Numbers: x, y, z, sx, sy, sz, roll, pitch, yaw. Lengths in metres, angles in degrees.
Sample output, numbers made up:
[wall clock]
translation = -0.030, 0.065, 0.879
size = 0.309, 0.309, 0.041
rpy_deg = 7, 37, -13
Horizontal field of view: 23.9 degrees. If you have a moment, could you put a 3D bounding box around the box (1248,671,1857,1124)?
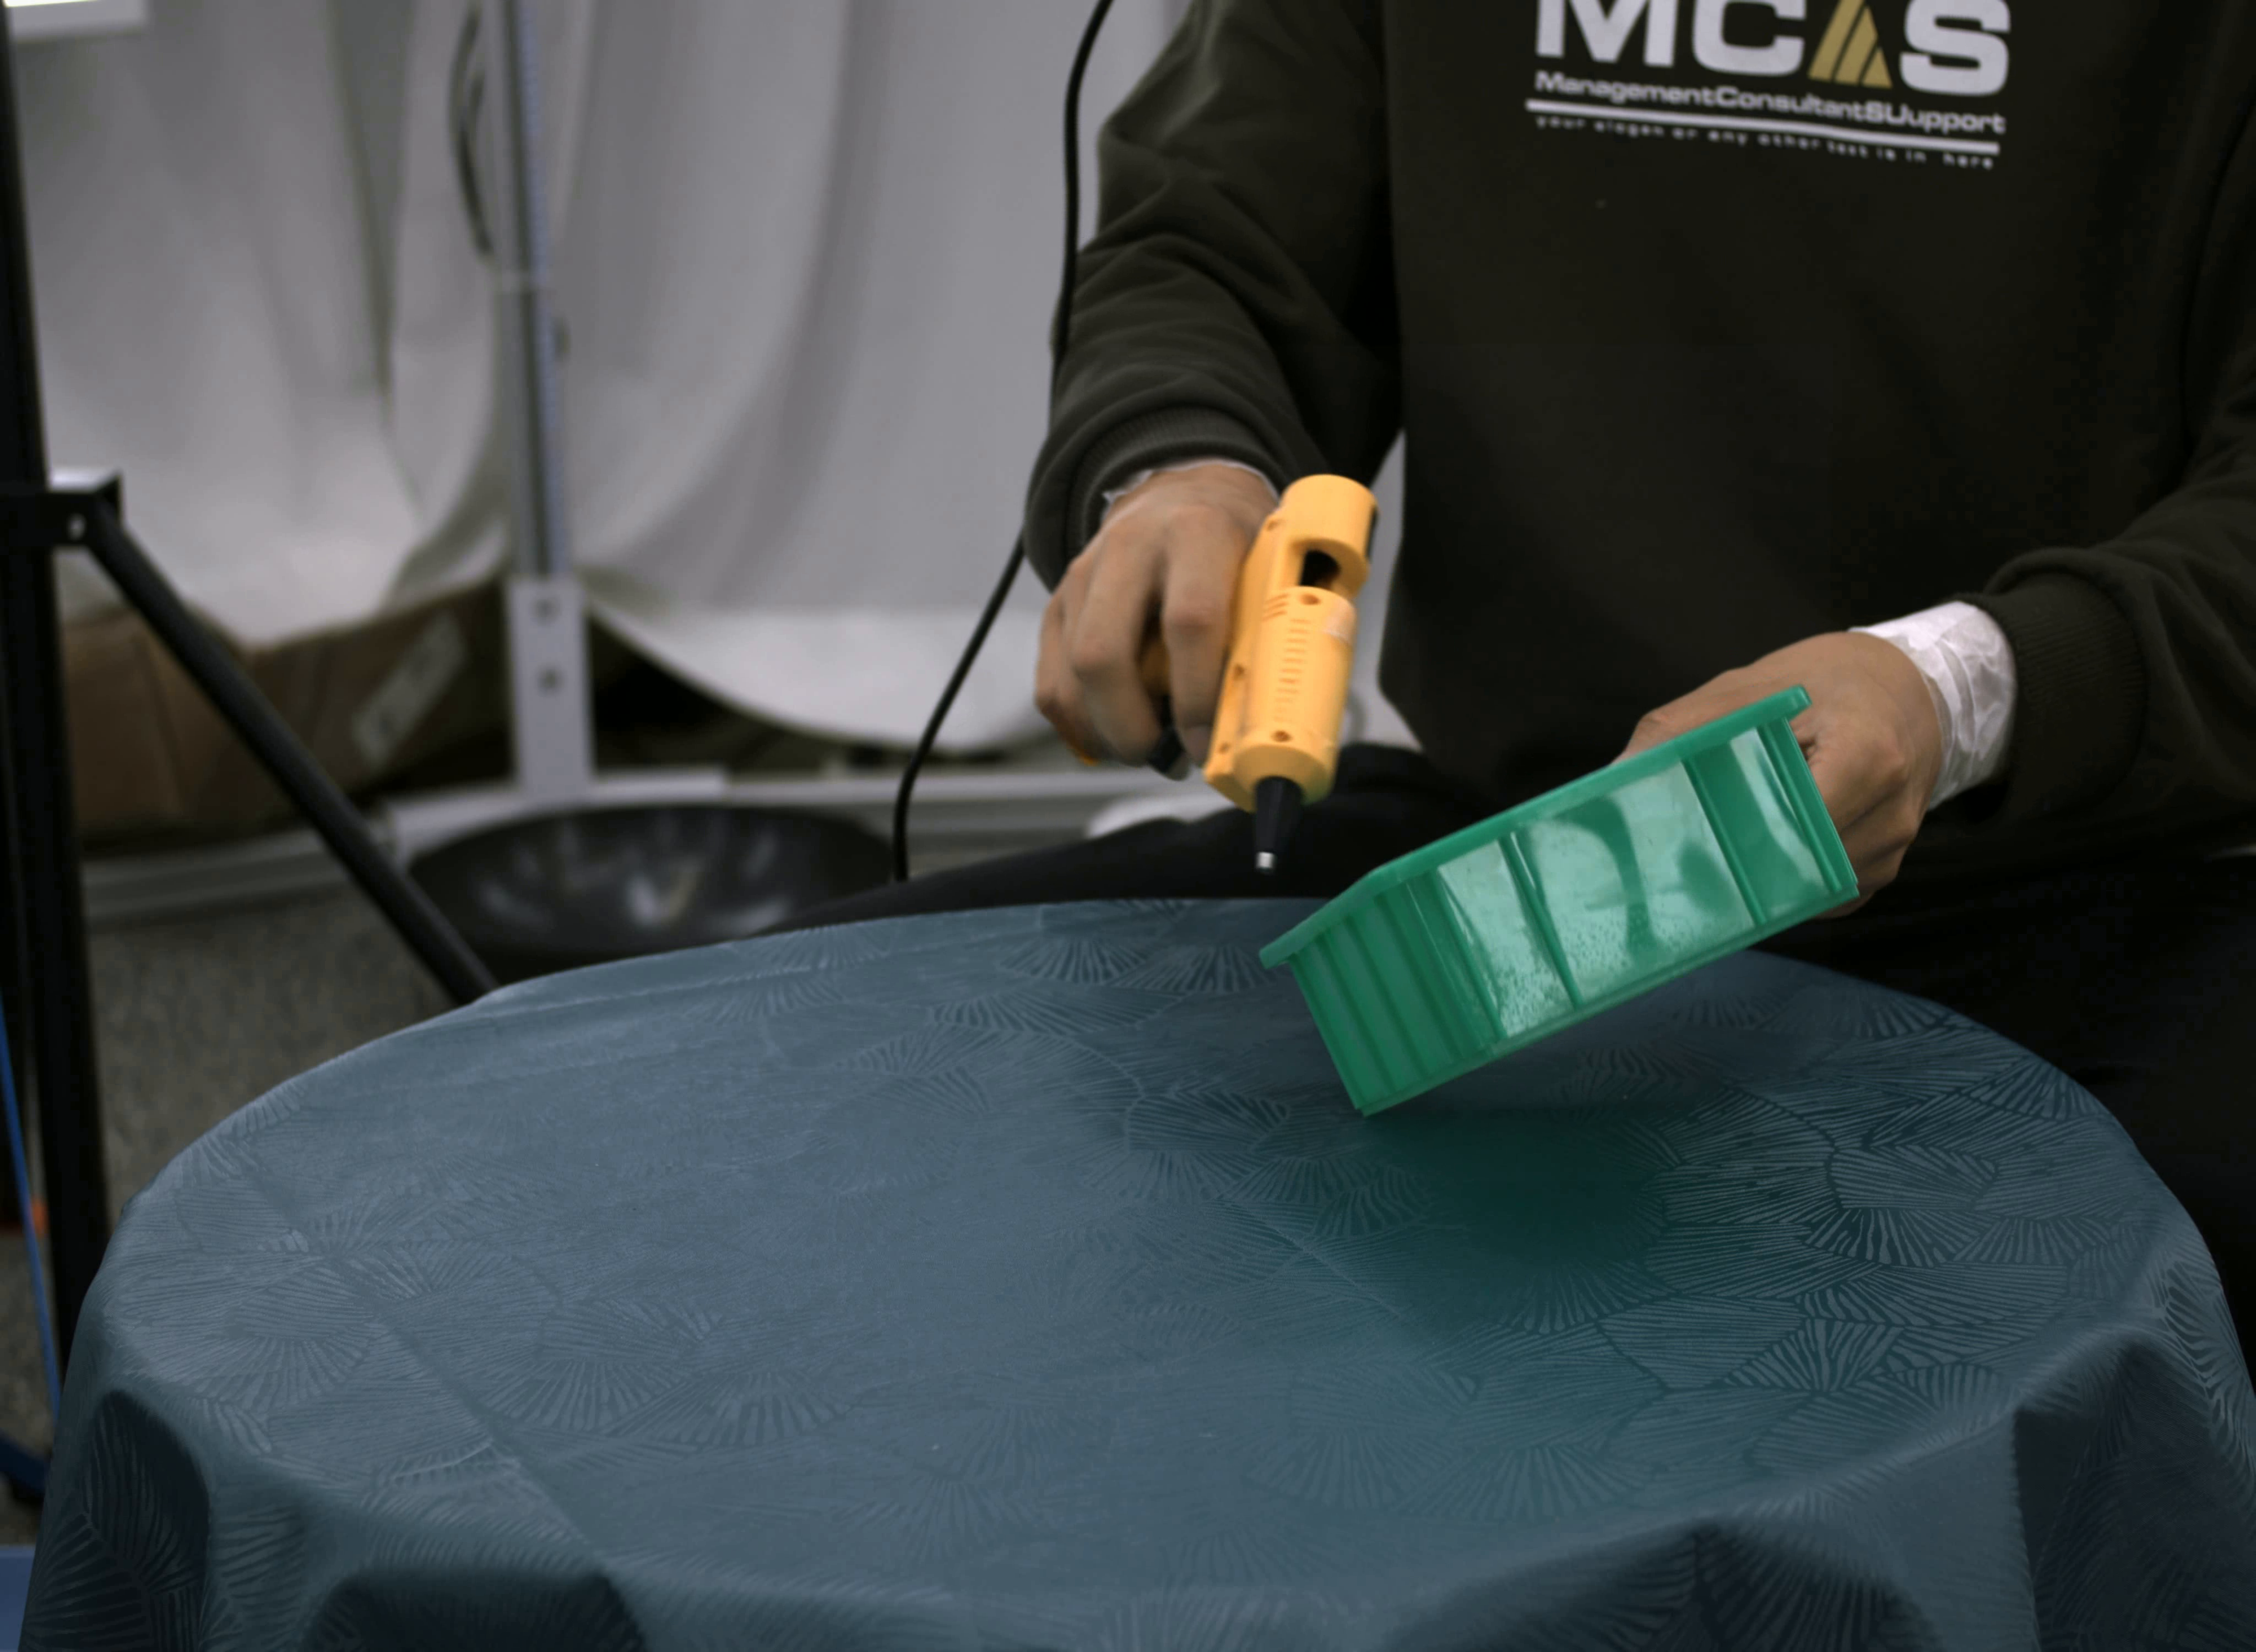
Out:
[box]
translation = 0.124, 0.027, 1.540
size = 0.137, 0.066, 0.211
rpy_deg = -21, -7, -12

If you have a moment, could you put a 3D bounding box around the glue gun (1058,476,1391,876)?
[glue gun]
translation = 0.025, -0.024, 1.634
size = 0.135, 0.030, 0.152
rpy_deg = -33, 34, 35
